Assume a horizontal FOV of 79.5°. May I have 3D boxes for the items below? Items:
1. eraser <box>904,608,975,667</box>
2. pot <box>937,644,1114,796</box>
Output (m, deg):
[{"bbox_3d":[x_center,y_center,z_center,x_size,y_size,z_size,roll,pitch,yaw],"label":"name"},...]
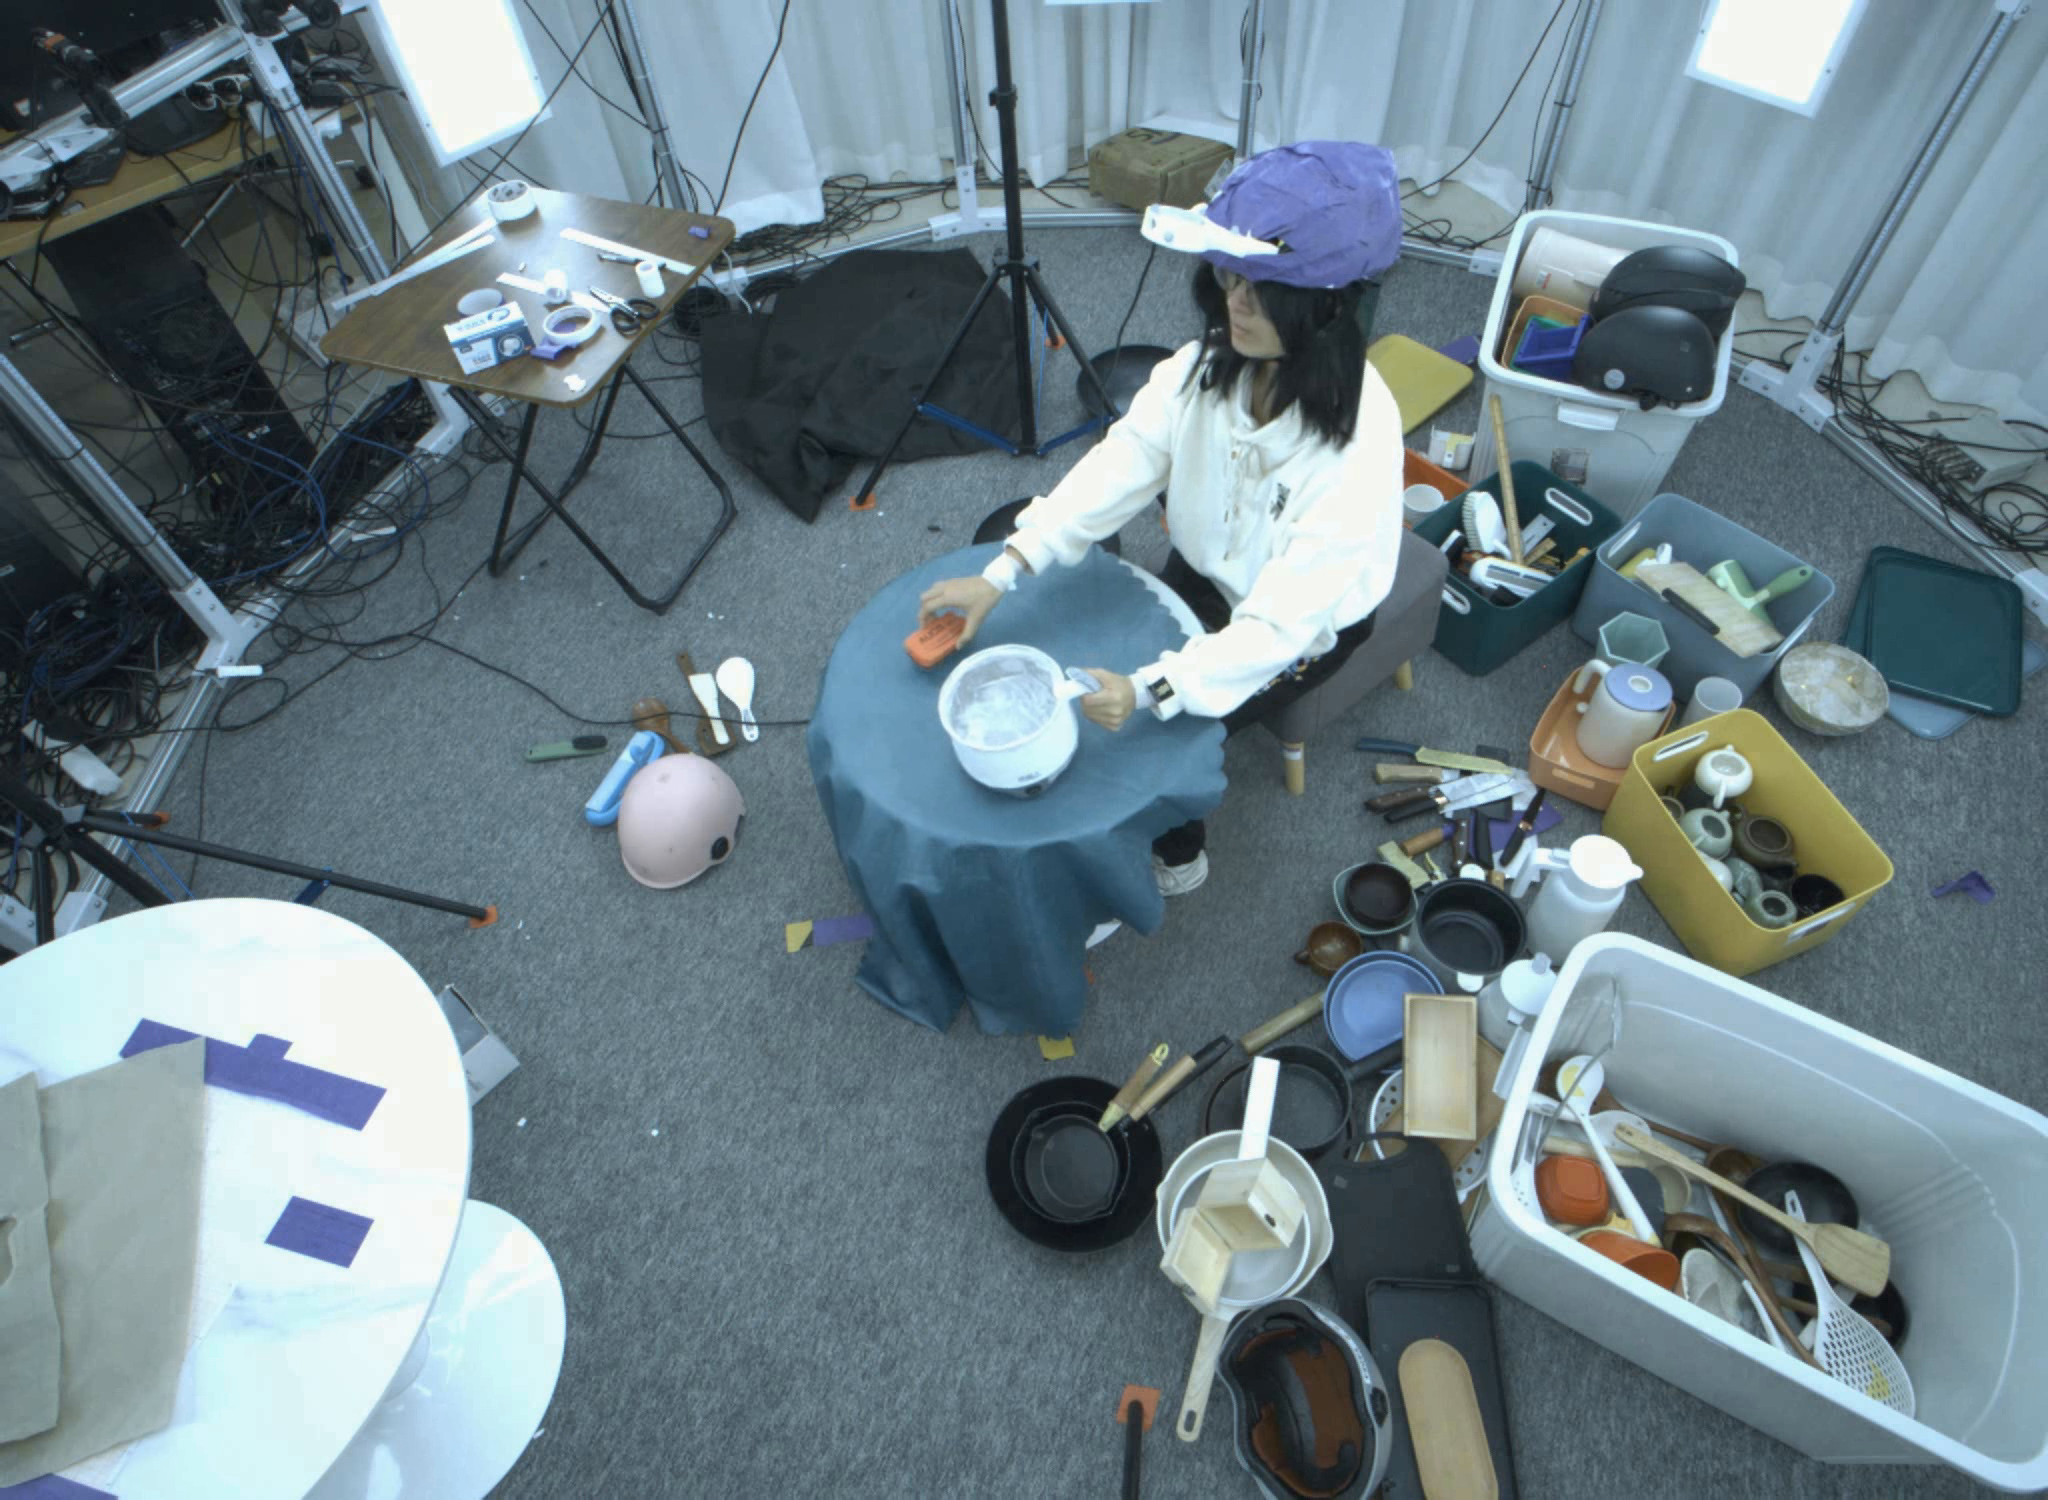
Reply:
[{"bbox_3d":[-0.129,-0.172,1.867,0.058,0.023,0.109,39,54,17],"label":"eraser"},{"bbox_3d":[0.007,-0.050,1.720,0.233,0.139,0.176,-20,58,1],"label":"pot"}]
